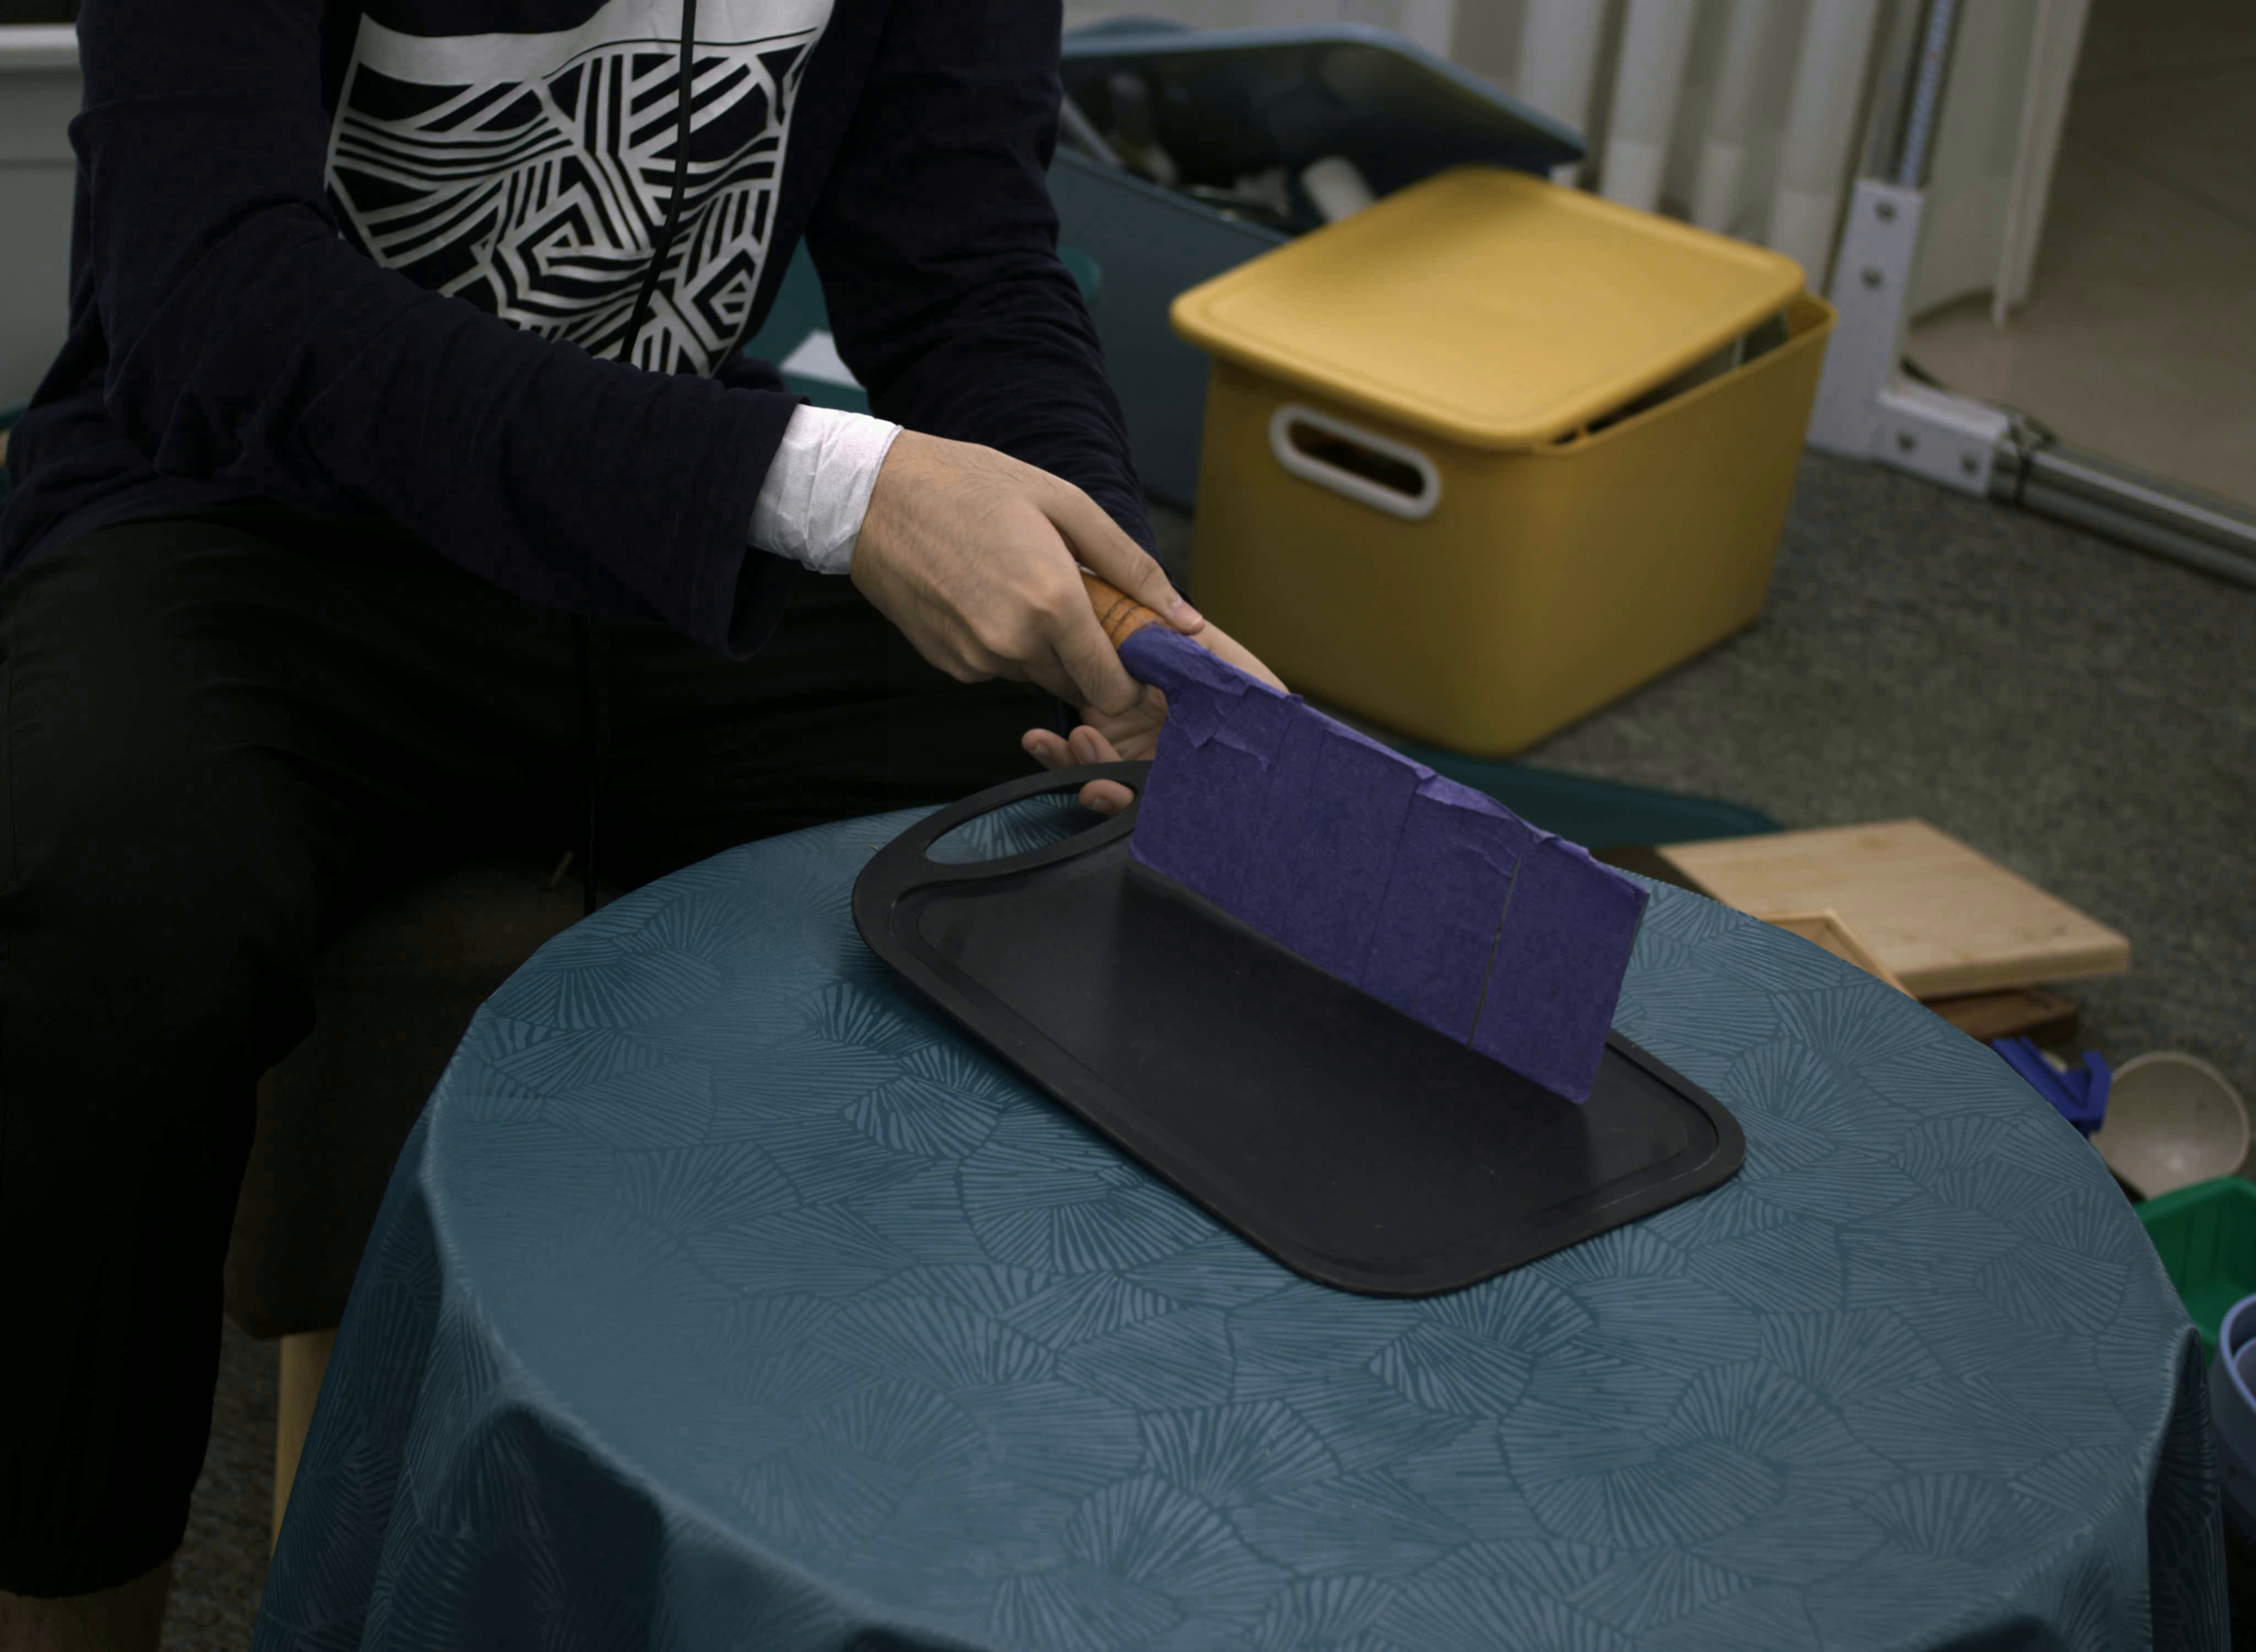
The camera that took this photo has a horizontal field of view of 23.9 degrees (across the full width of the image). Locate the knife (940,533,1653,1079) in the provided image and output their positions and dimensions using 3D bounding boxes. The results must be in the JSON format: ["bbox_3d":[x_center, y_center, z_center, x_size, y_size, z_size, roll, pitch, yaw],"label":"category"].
[{"bbox_3d":[0.050,-0.006,1.930,0.317,0.103,0.032,29,26,31],"label":"knife"}]

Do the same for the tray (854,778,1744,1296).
[{"bbox_3d":[0.053,0.065,1.906,0.210,0.010,0.328,-17,39,-38],"label":"tray"}]
